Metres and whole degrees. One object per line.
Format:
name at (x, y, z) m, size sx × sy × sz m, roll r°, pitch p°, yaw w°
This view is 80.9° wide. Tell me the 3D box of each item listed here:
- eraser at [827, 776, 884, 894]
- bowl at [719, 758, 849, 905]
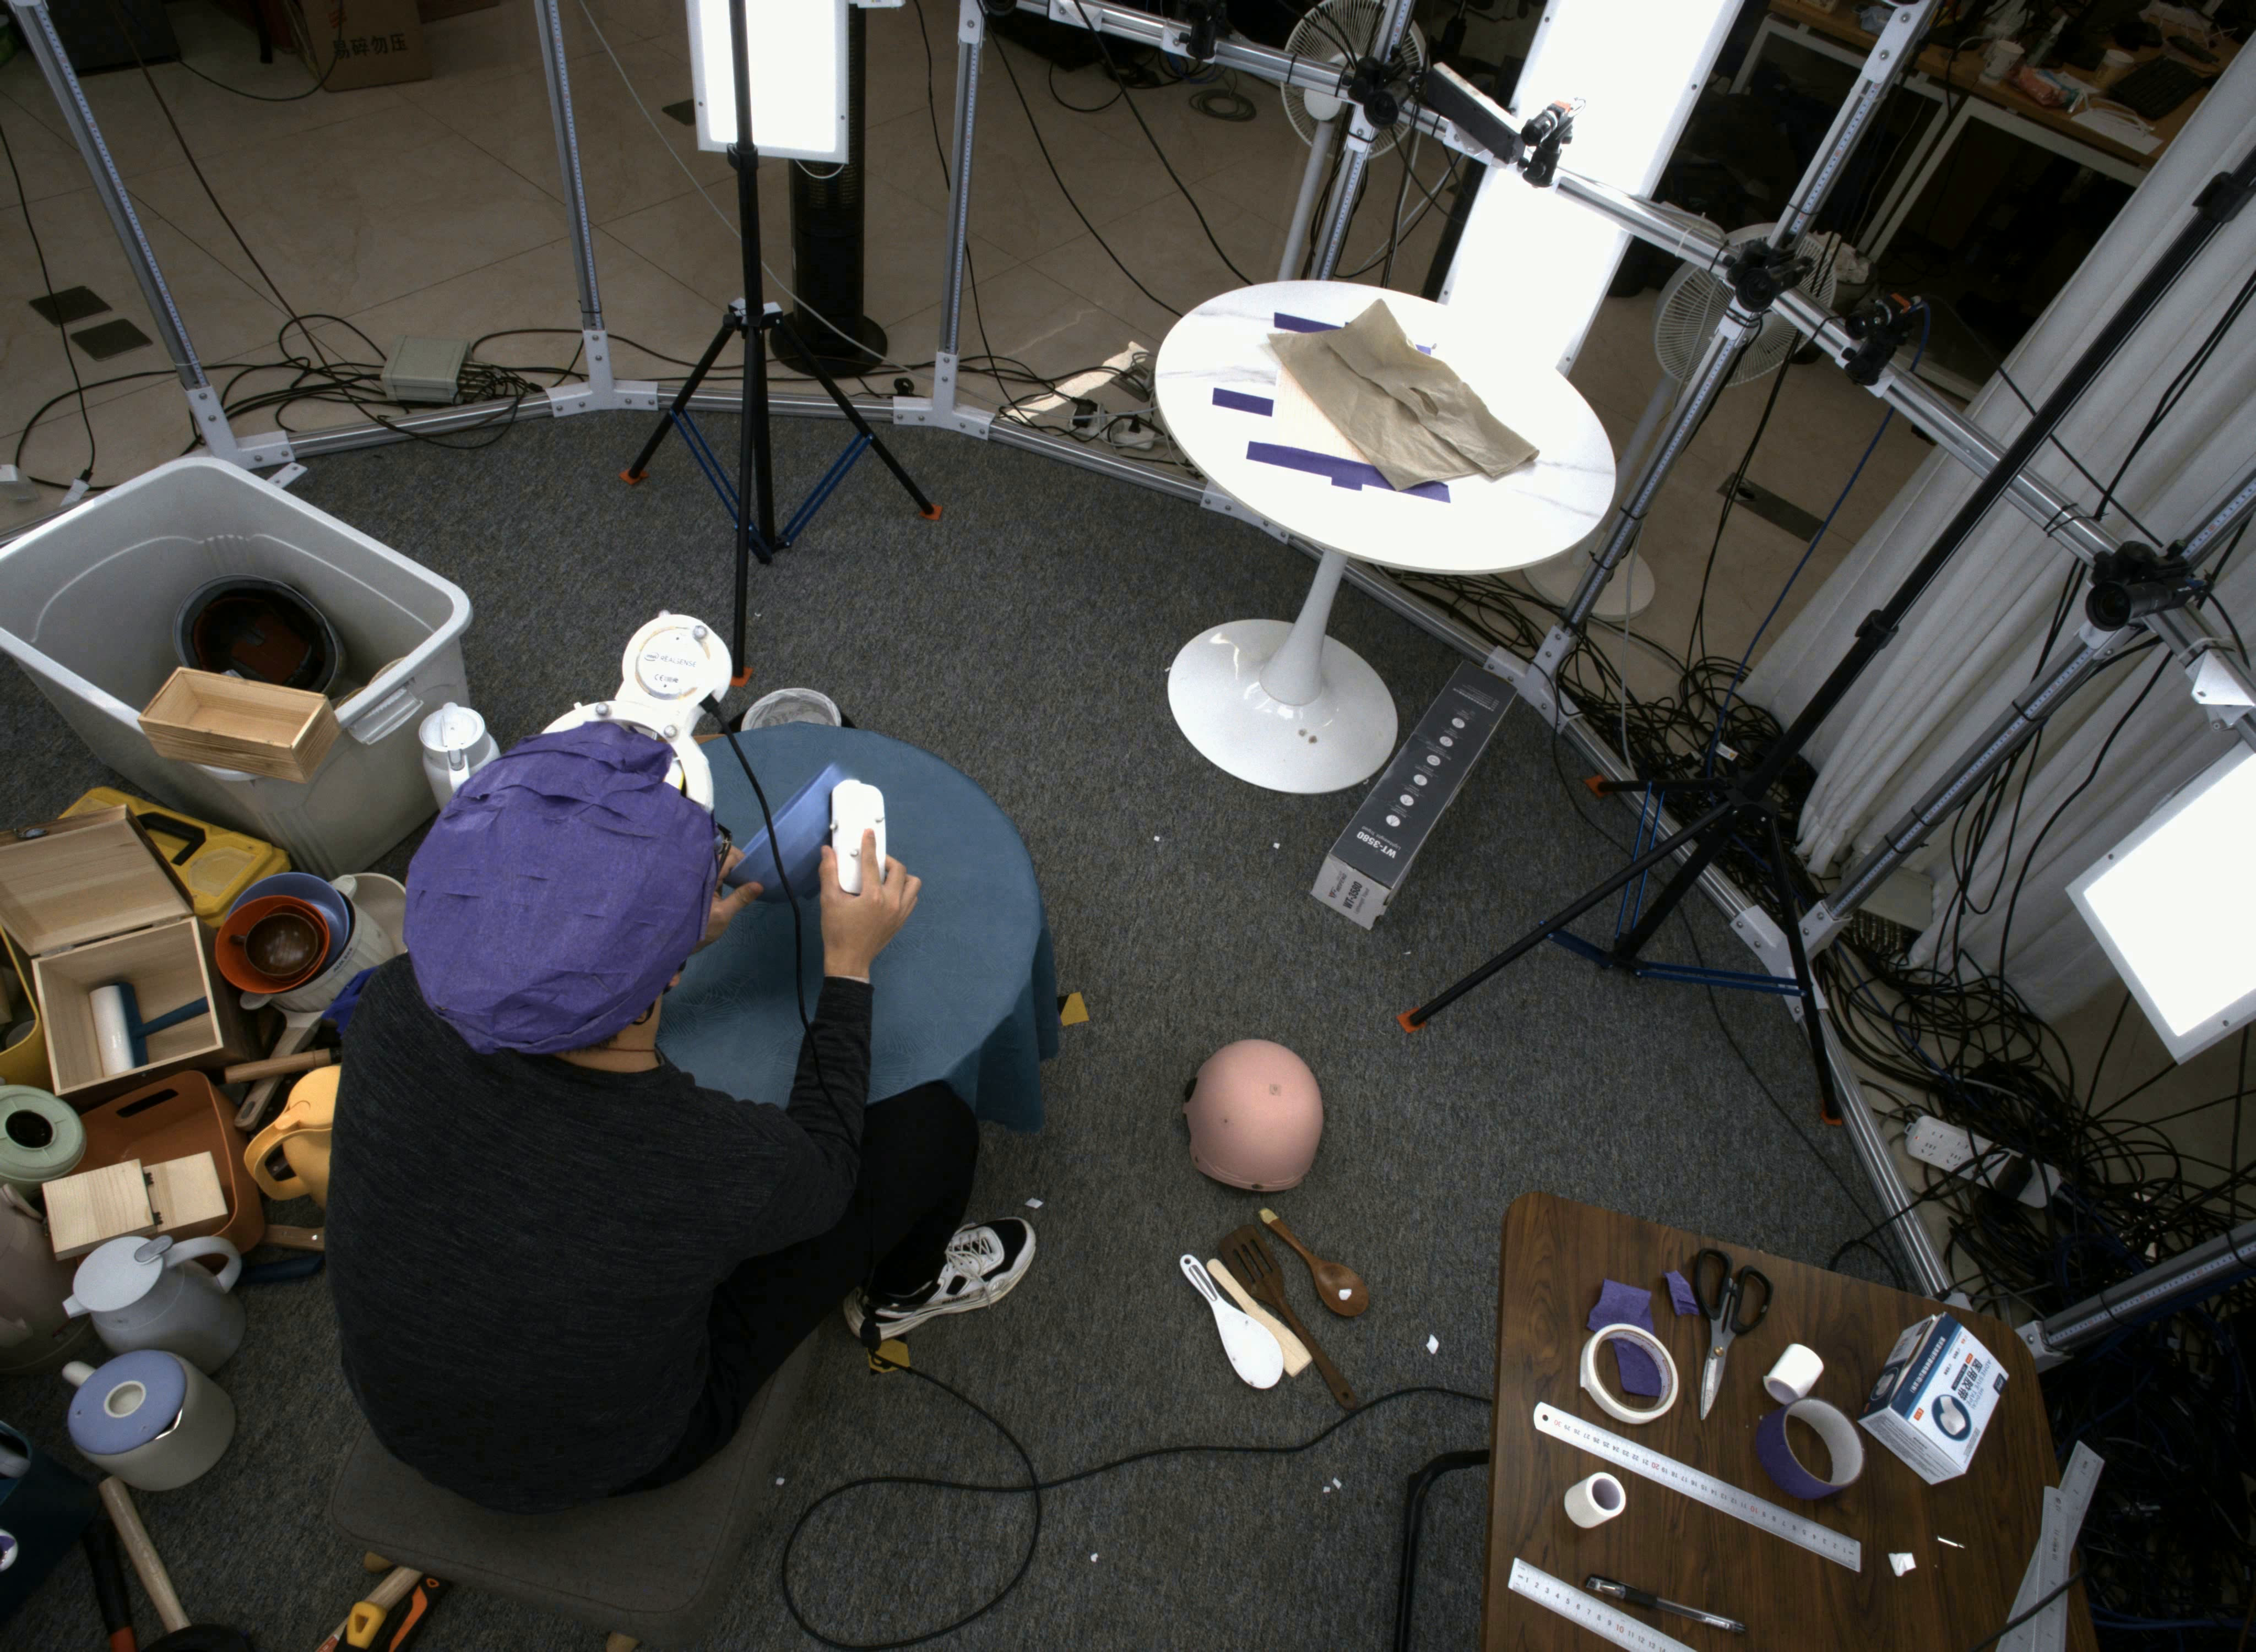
eraser at (-0.311, 0.010, 1.473) m, size 0.065 × 0.034 × 0.131 m, roll 10°, pitch 70°, yaw -44°
bowl at (-0.383, 0.022, 1.542) m, size 0.097 × 0.194 × 0.195 m, roll 45°, pitch 50°, yaw -14°
